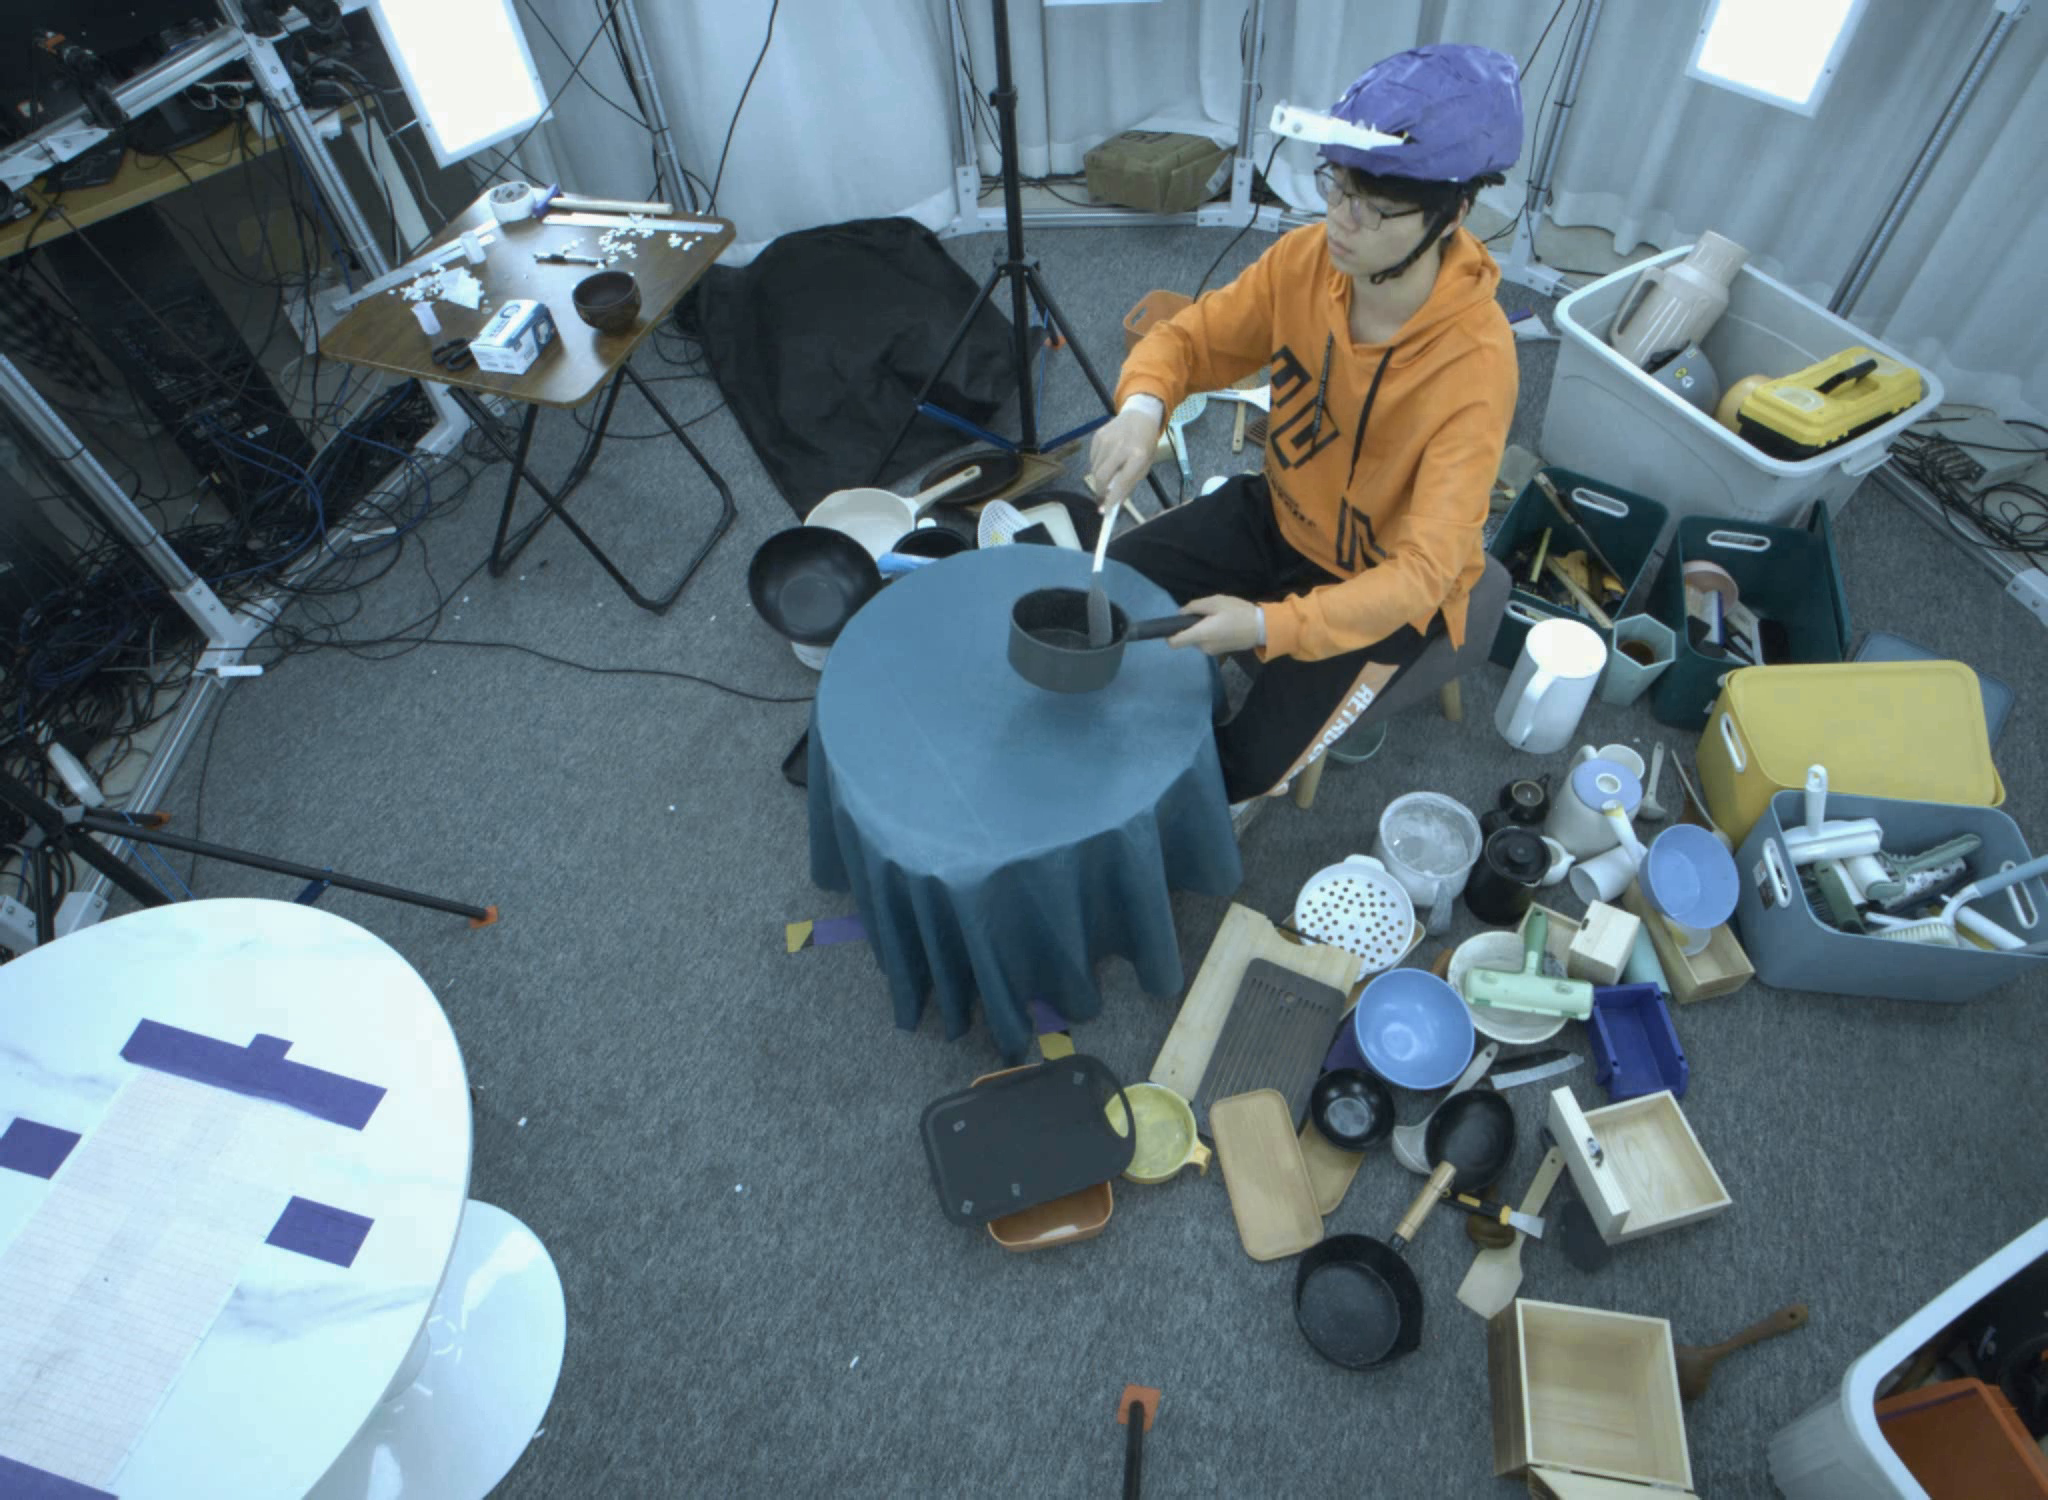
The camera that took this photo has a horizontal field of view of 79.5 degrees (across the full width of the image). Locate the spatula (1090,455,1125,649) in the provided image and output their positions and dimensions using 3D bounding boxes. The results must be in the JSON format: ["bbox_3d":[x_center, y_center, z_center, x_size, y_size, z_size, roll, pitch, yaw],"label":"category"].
[{"bbox_3d":[0.118,-0.284,1.750,0.033,0.057,0.286,12,78,-34],"label":"spatula"}]

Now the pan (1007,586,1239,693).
[{"bbox_3d":[0.138,-0.157,1.744,0.331,0.087,0.169,-1,41,-11],"label":"pan"}]
